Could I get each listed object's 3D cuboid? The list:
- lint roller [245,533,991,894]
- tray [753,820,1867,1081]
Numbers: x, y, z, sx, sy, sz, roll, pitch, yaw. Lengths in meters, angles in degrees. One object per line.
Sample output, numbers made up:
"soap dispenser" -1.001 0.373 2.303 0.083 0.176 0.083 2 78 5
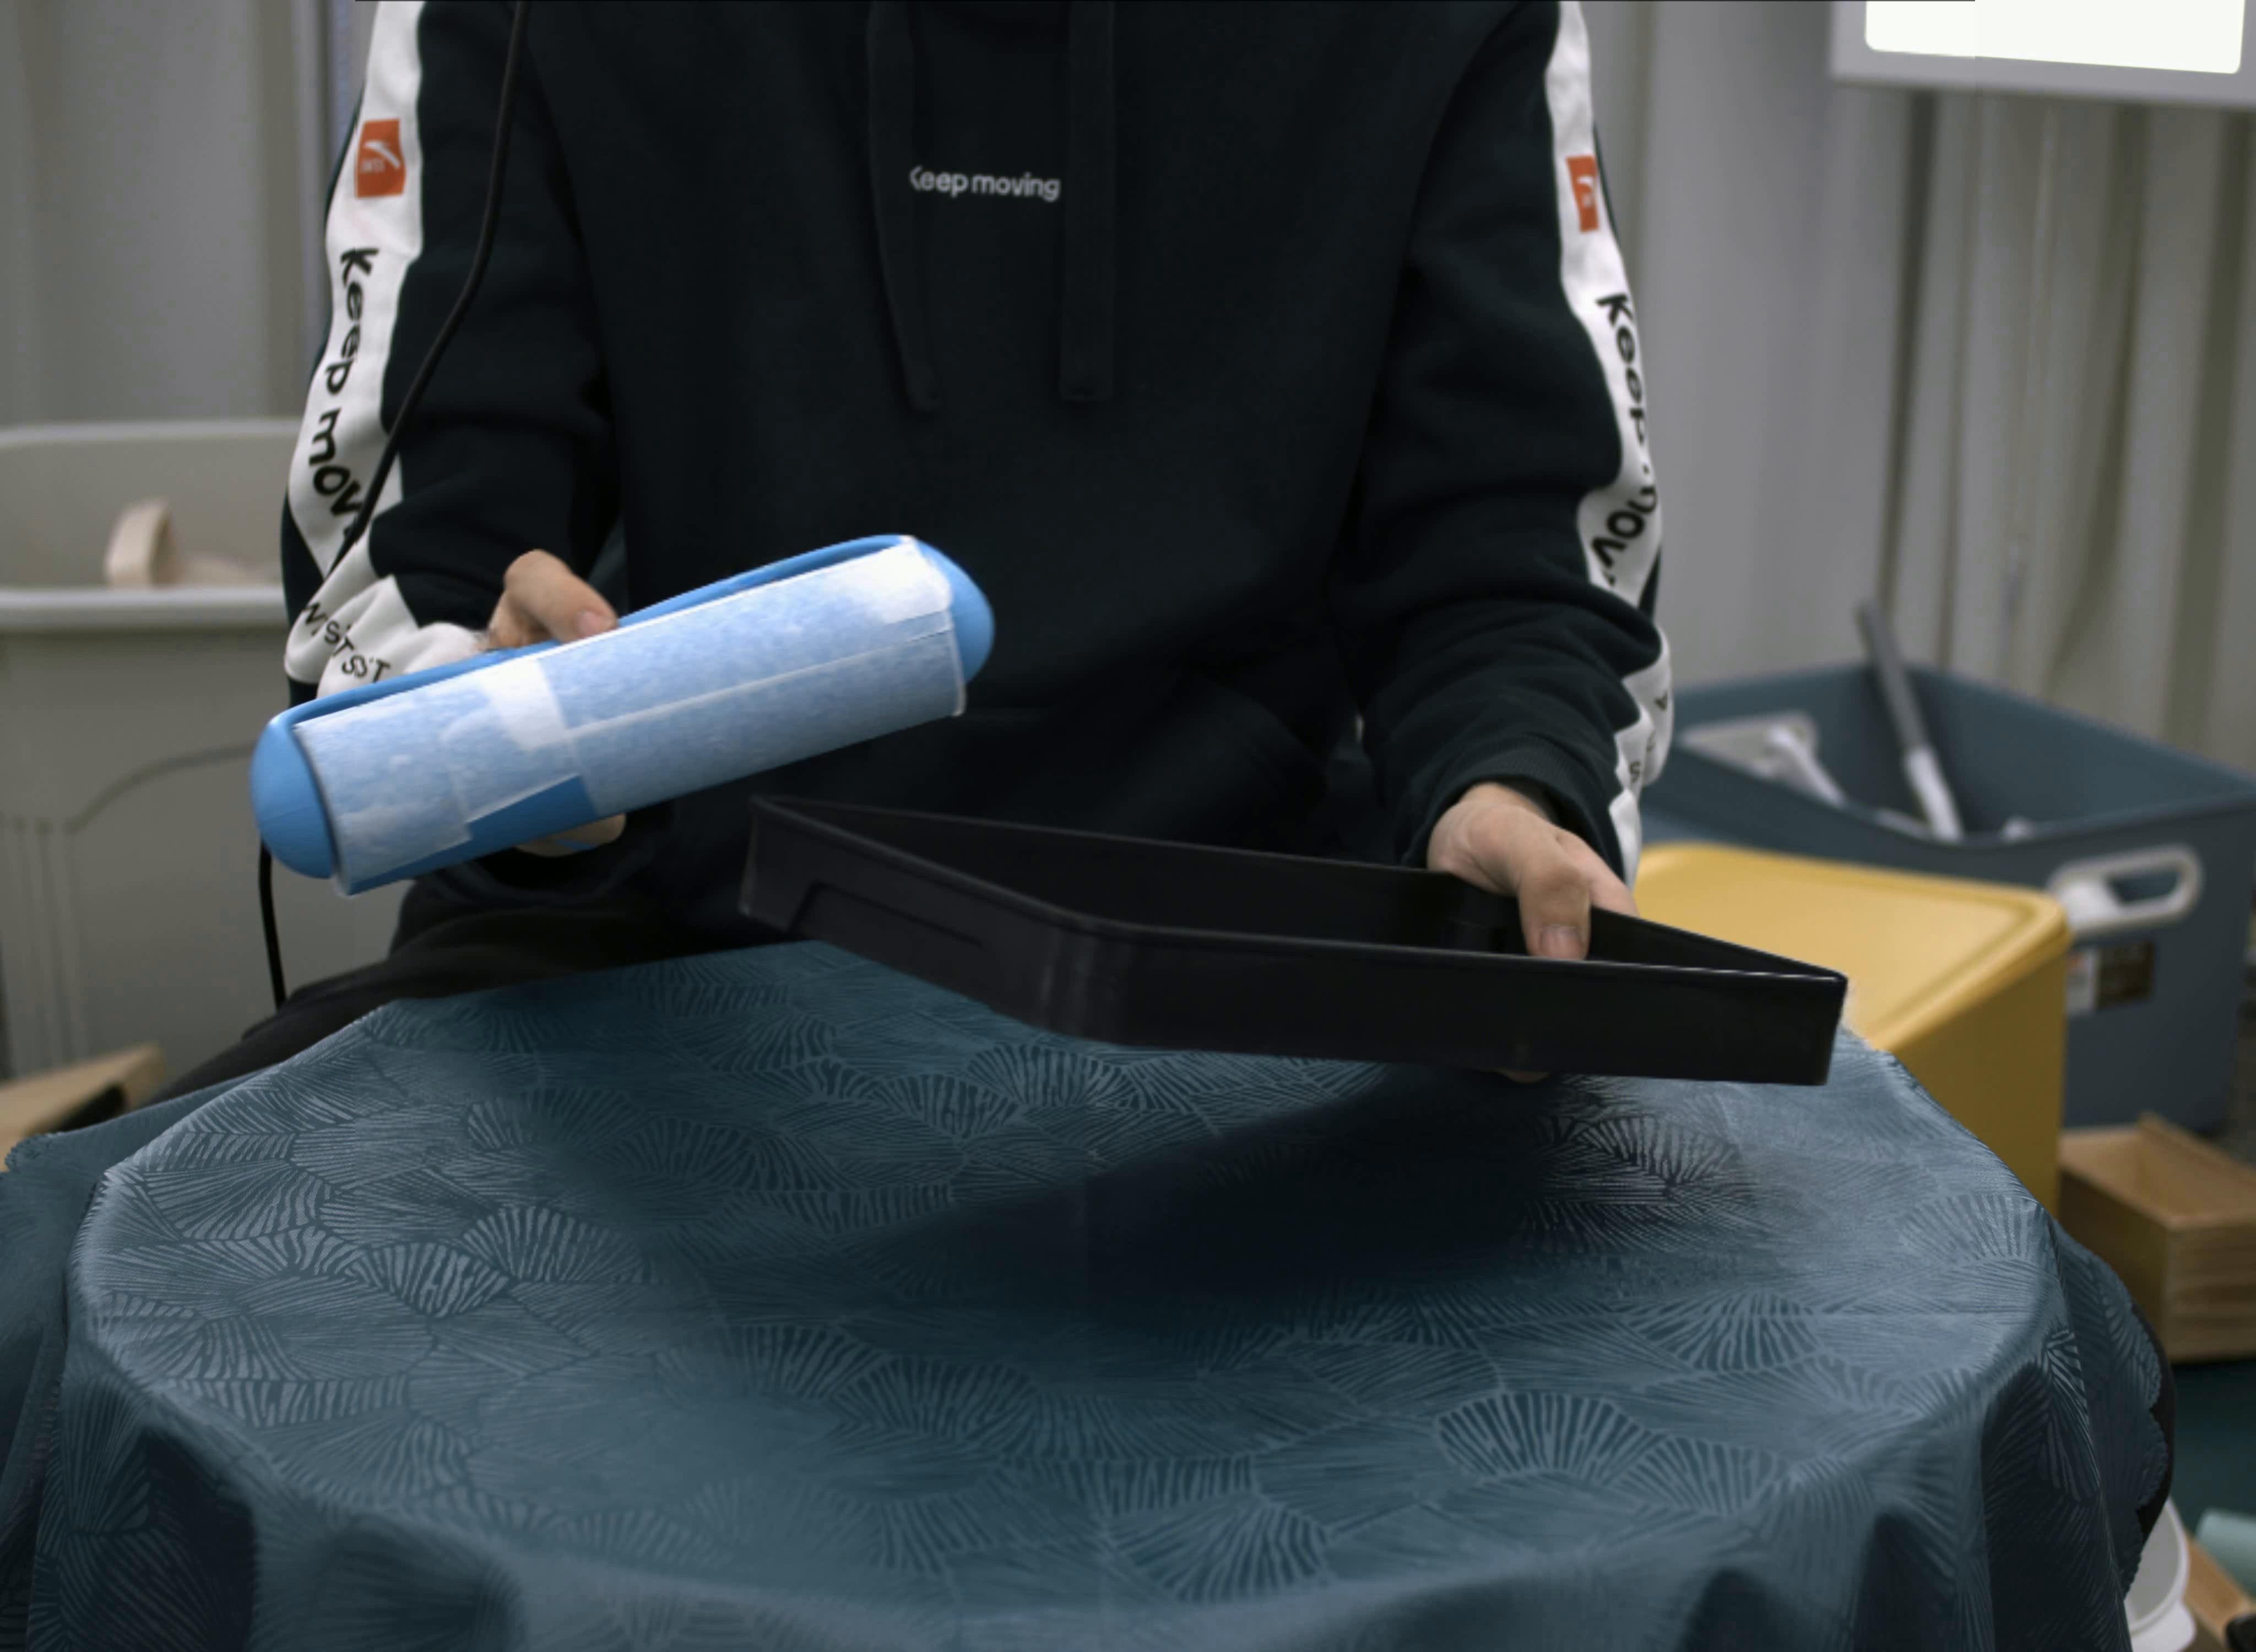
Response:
"lint roller" -0.165 -0.028 1.611 0.229 0.068 0.179 -19 0 -17
"tray" 0.057 0.039 1.579 0.320 0.037 0.182 4 8 -42
